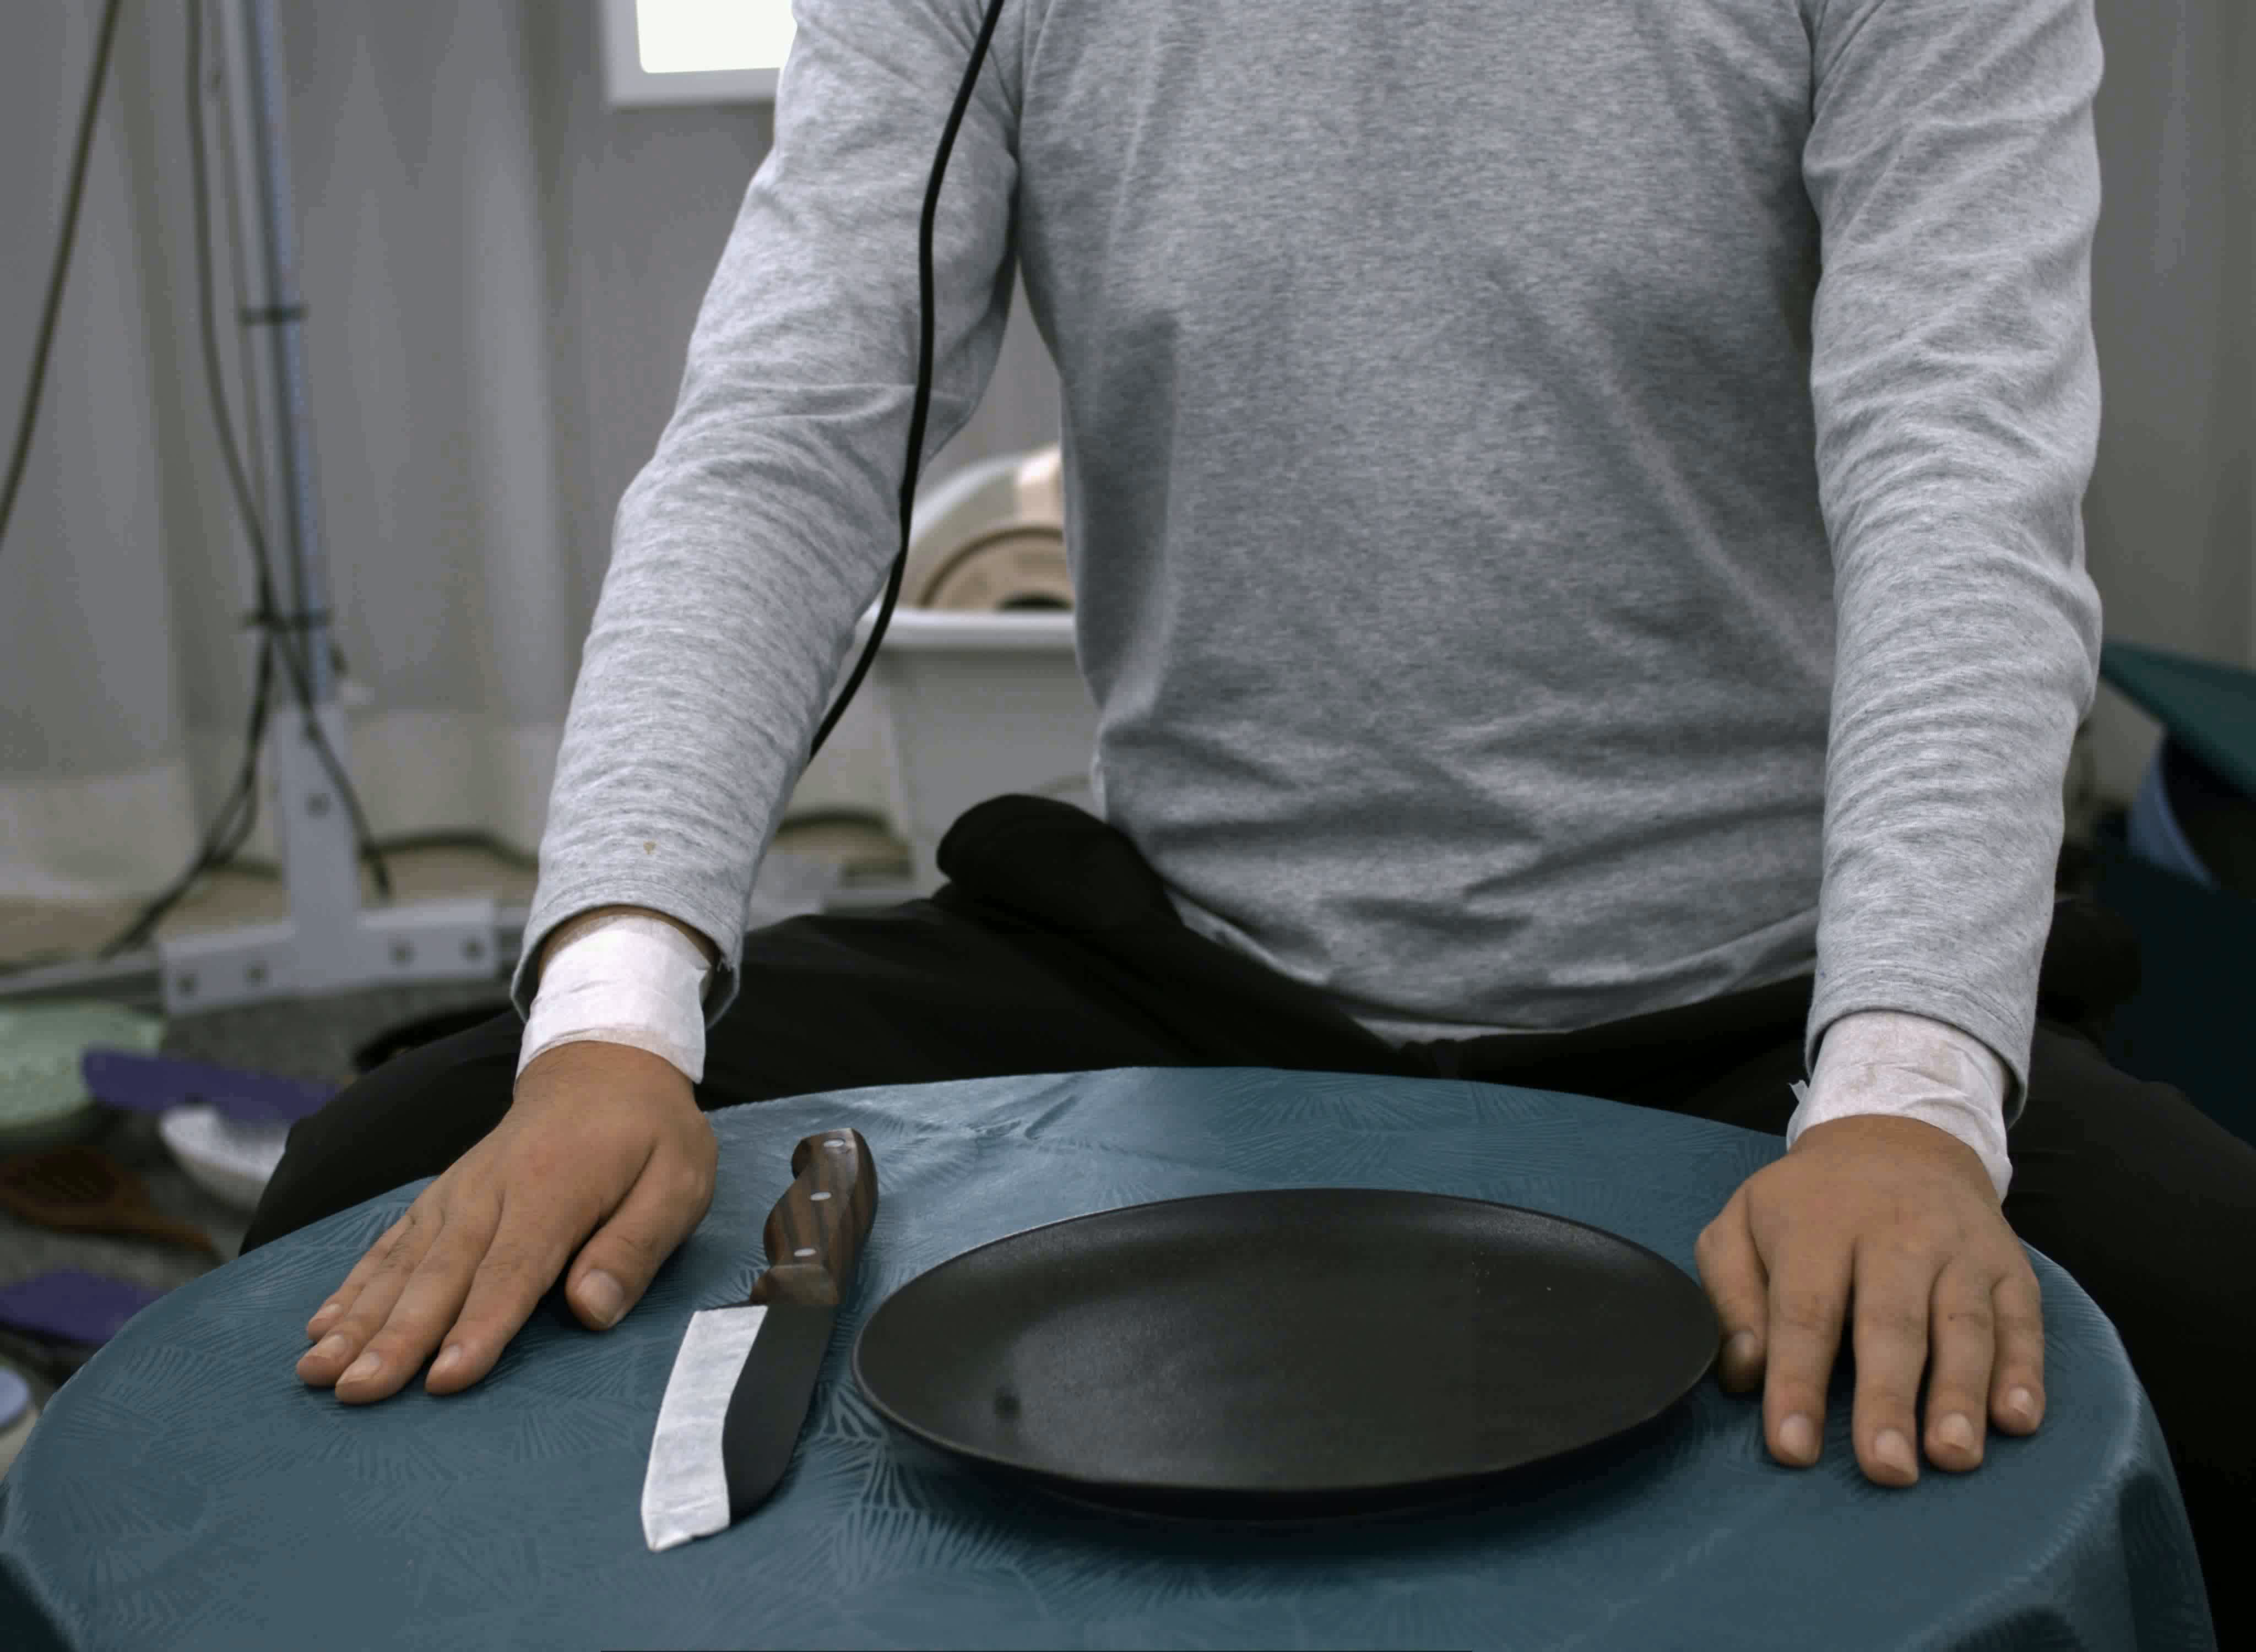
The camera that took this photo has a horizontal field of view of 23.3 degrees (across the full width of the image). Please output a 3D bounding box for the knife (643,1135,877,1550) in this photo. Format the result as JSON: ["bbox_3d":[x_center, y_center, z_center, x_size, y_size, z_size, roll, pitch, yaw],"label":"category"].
[{"bbox_3d":[-0.105,0.148,1.582,0.050,0.020,0.291,-6,17,8],"label":"knife"}]

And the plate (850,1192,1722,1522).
[{"bbox_3d":[0.044,0.151,1.528,0.243,0.023,0.246,-3,15,0],"label":"plate"}]
